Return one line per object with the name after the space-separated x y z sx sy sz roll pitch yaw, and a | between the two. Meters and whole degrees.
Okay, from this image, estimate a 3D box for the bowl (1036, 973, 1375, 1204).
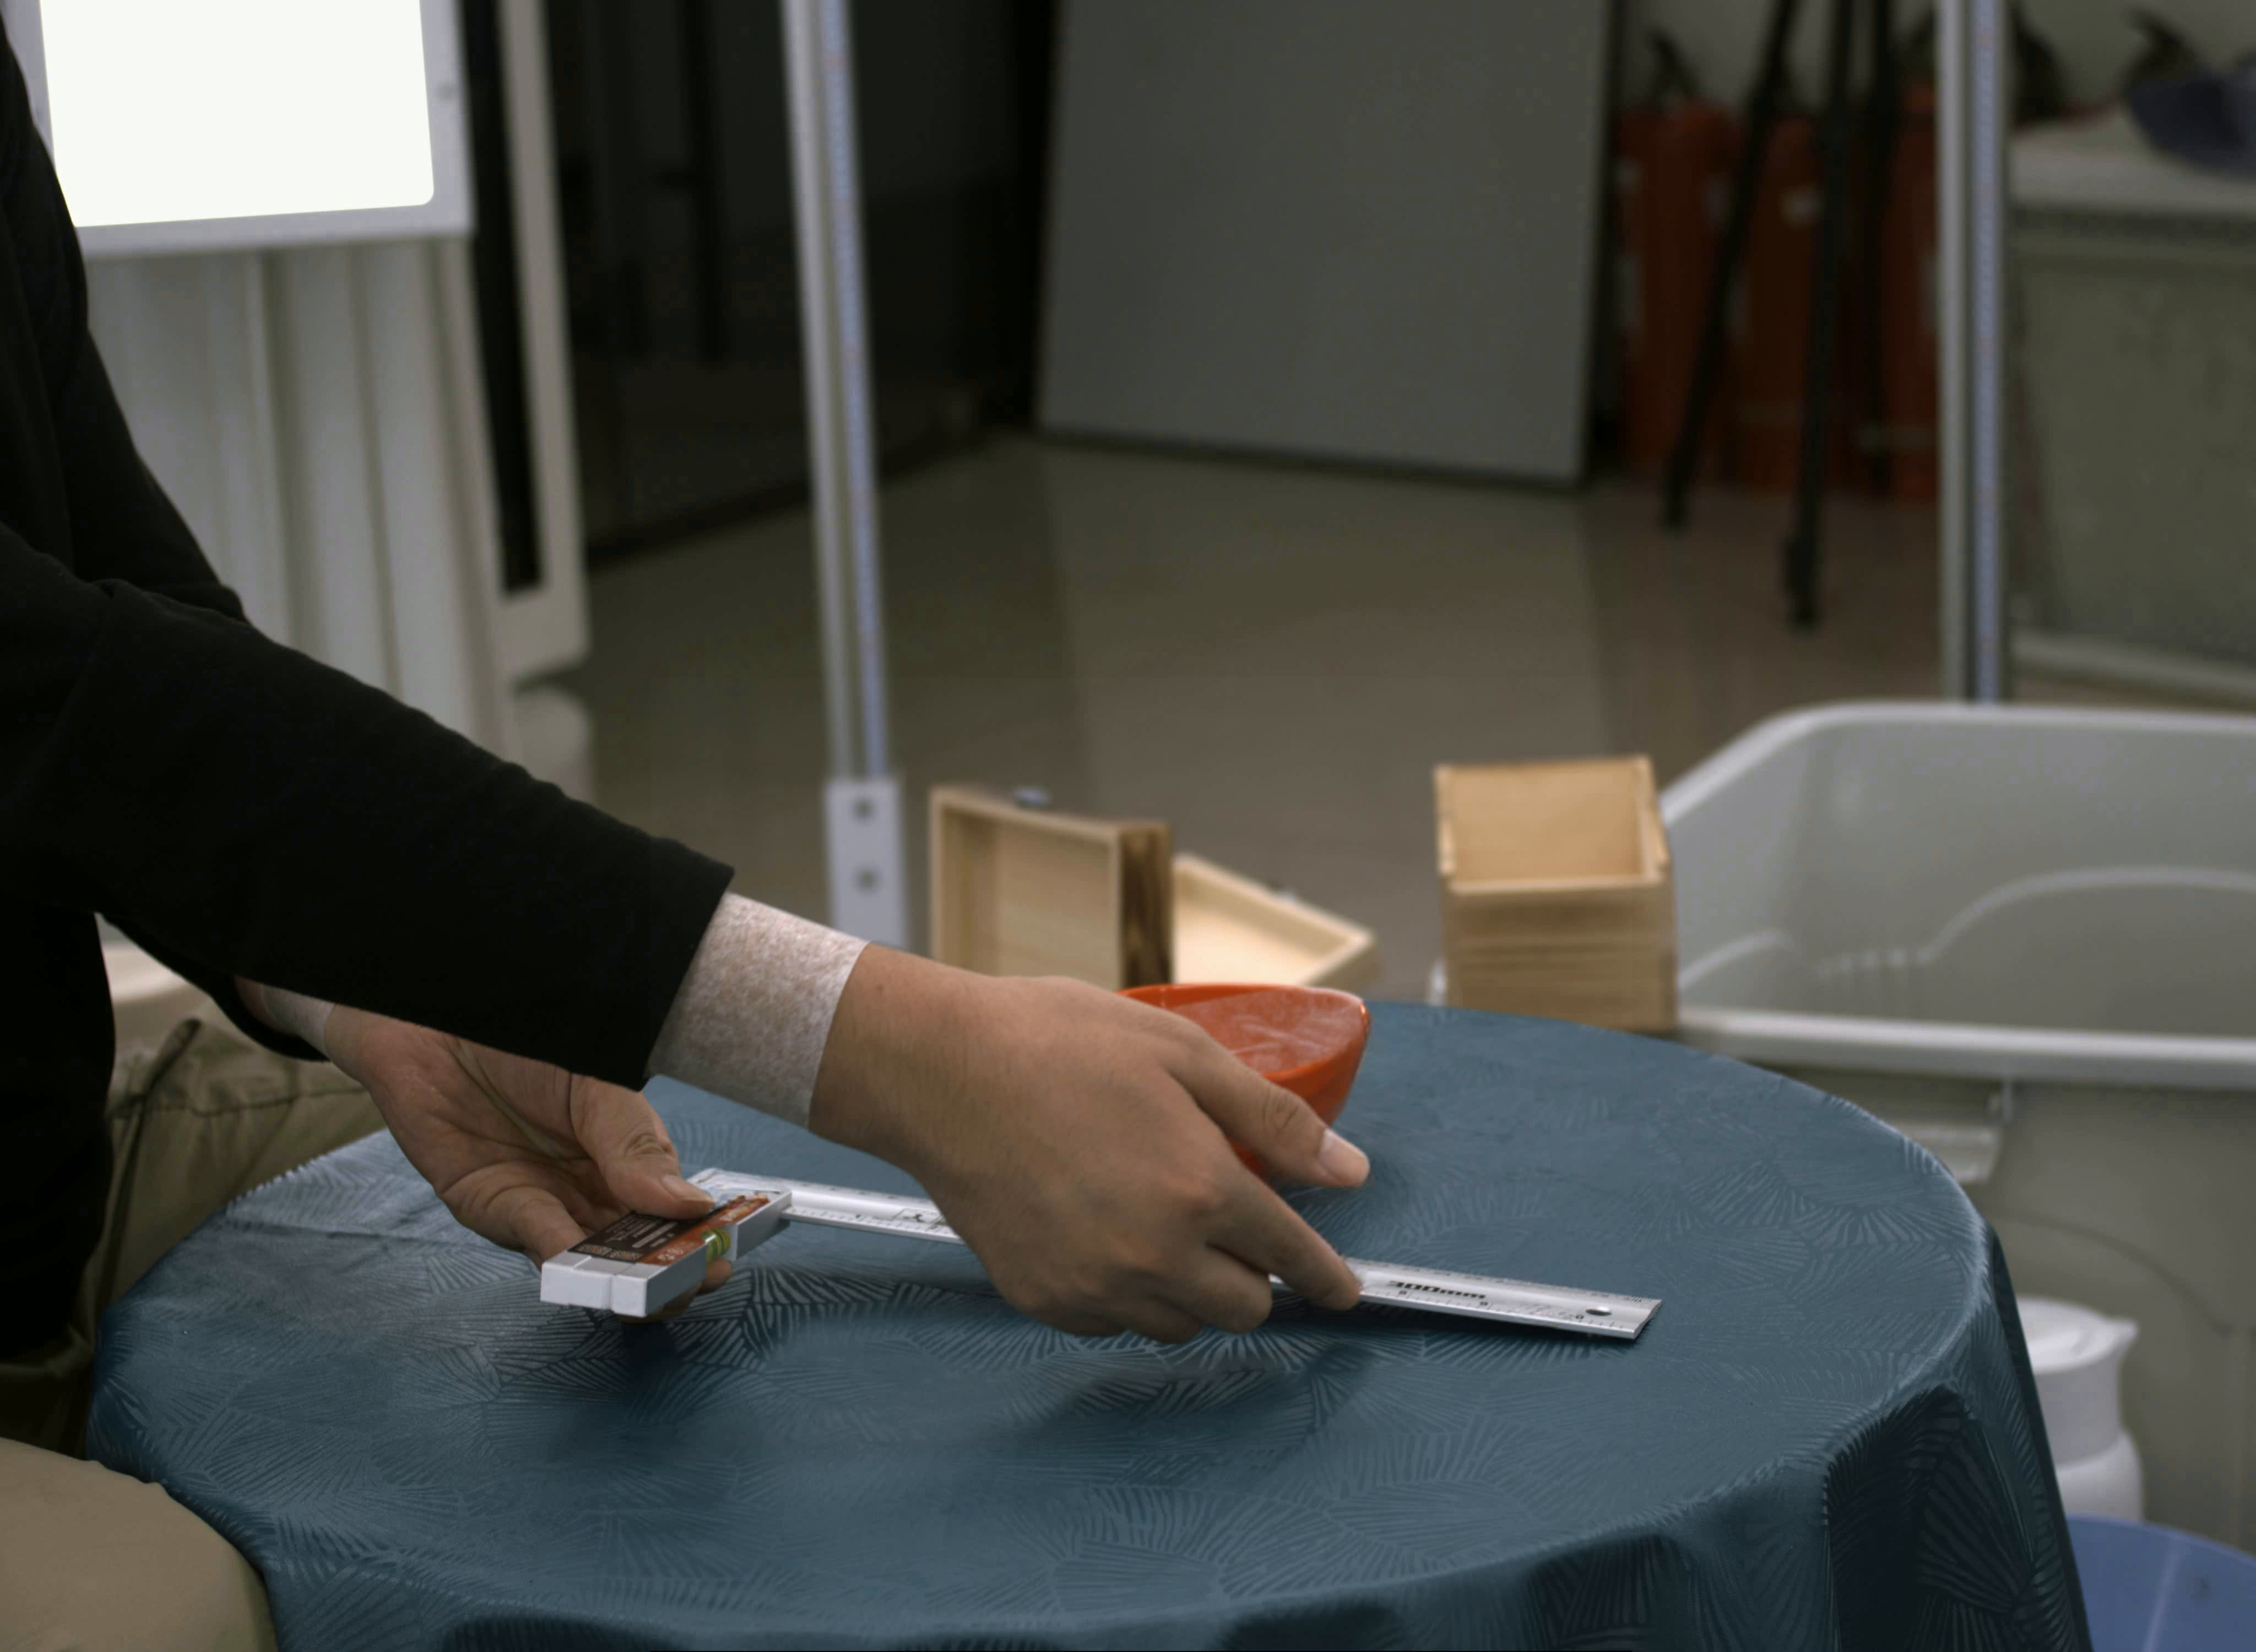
0.026 0.089 1.777 0.117 0.052 0.119 -1 16 0 | bowl

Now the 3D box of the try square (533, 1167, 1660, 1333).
-0.008 0.139 1.611 0.312 0.016 0.150 6 10 19 | try square
